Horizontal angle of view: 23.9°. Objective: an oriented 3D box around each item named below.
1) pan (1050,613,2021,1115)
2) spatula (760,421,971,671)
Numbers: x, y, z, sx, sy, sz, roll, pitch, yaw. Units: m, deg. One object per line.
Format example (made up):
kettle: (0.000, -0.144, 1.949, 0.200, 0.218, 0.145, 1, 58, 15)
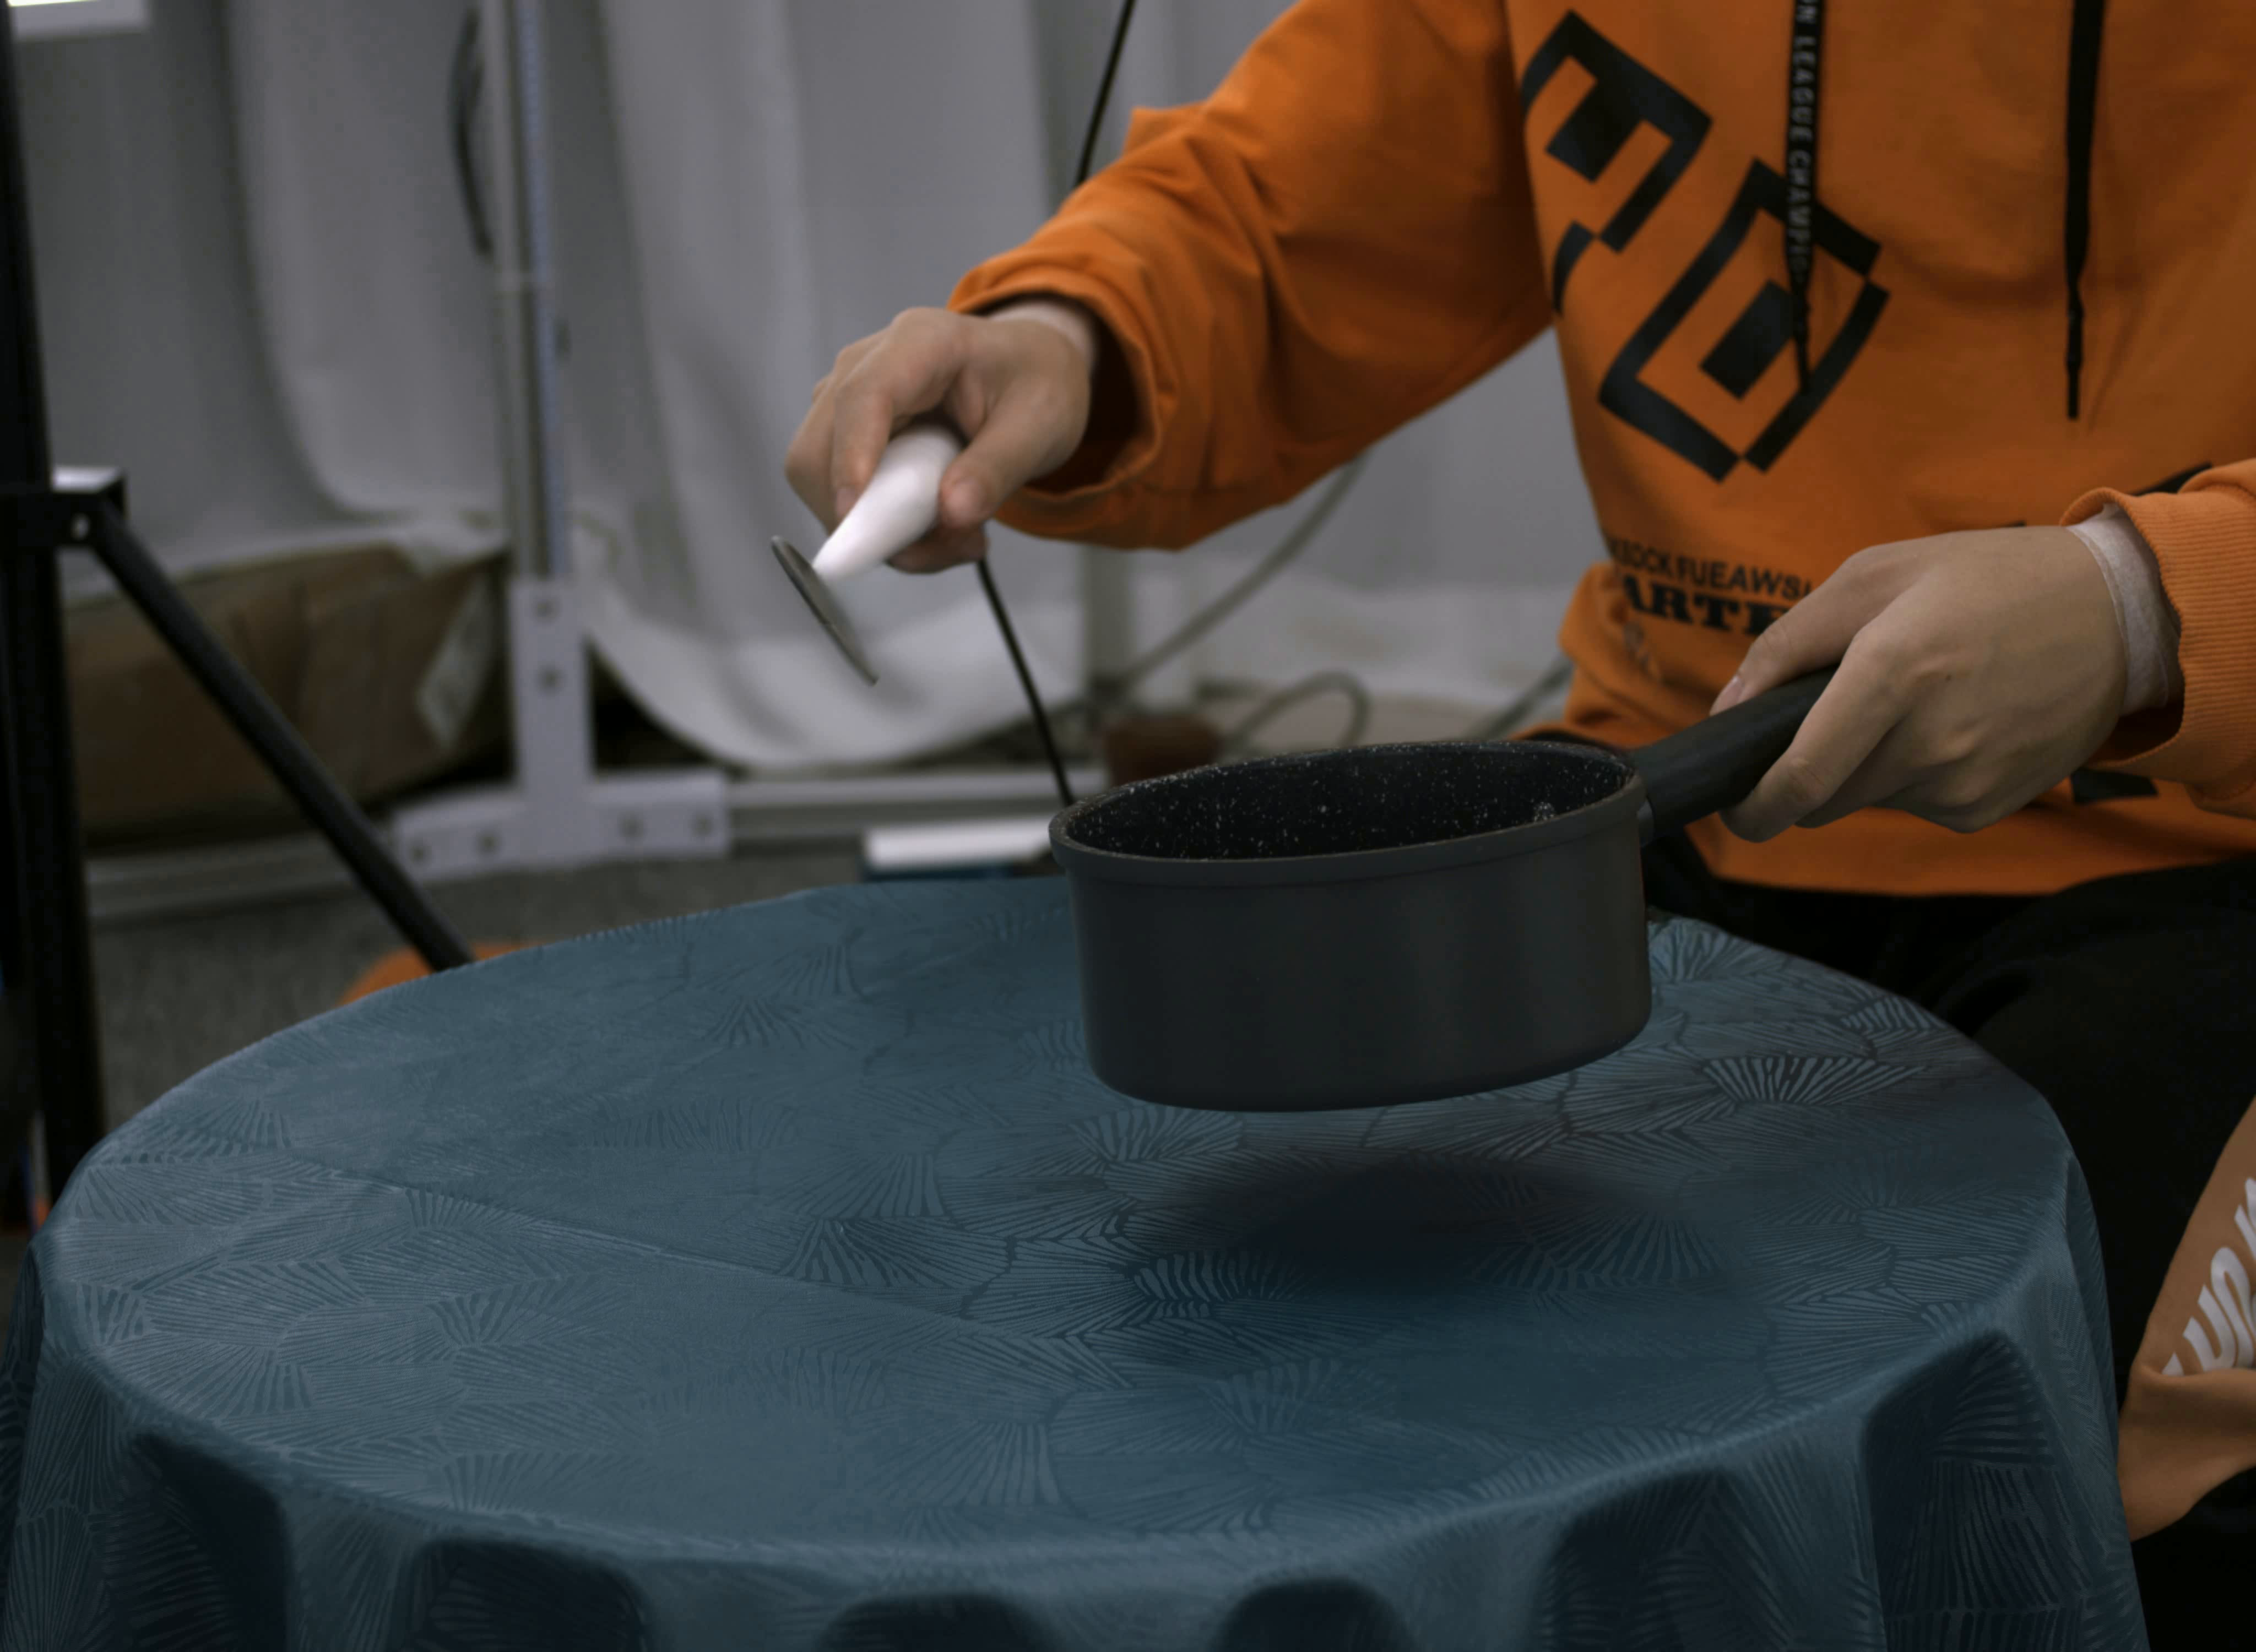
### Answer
pan: (0.131, 0.010, 1.551, 0.321, 0.086, 0.175, -14, 14, -29)
spatula: (-0.082, -0.090, 1.695, 0.032, 0.058, 0.287, -37, 7, 12)
